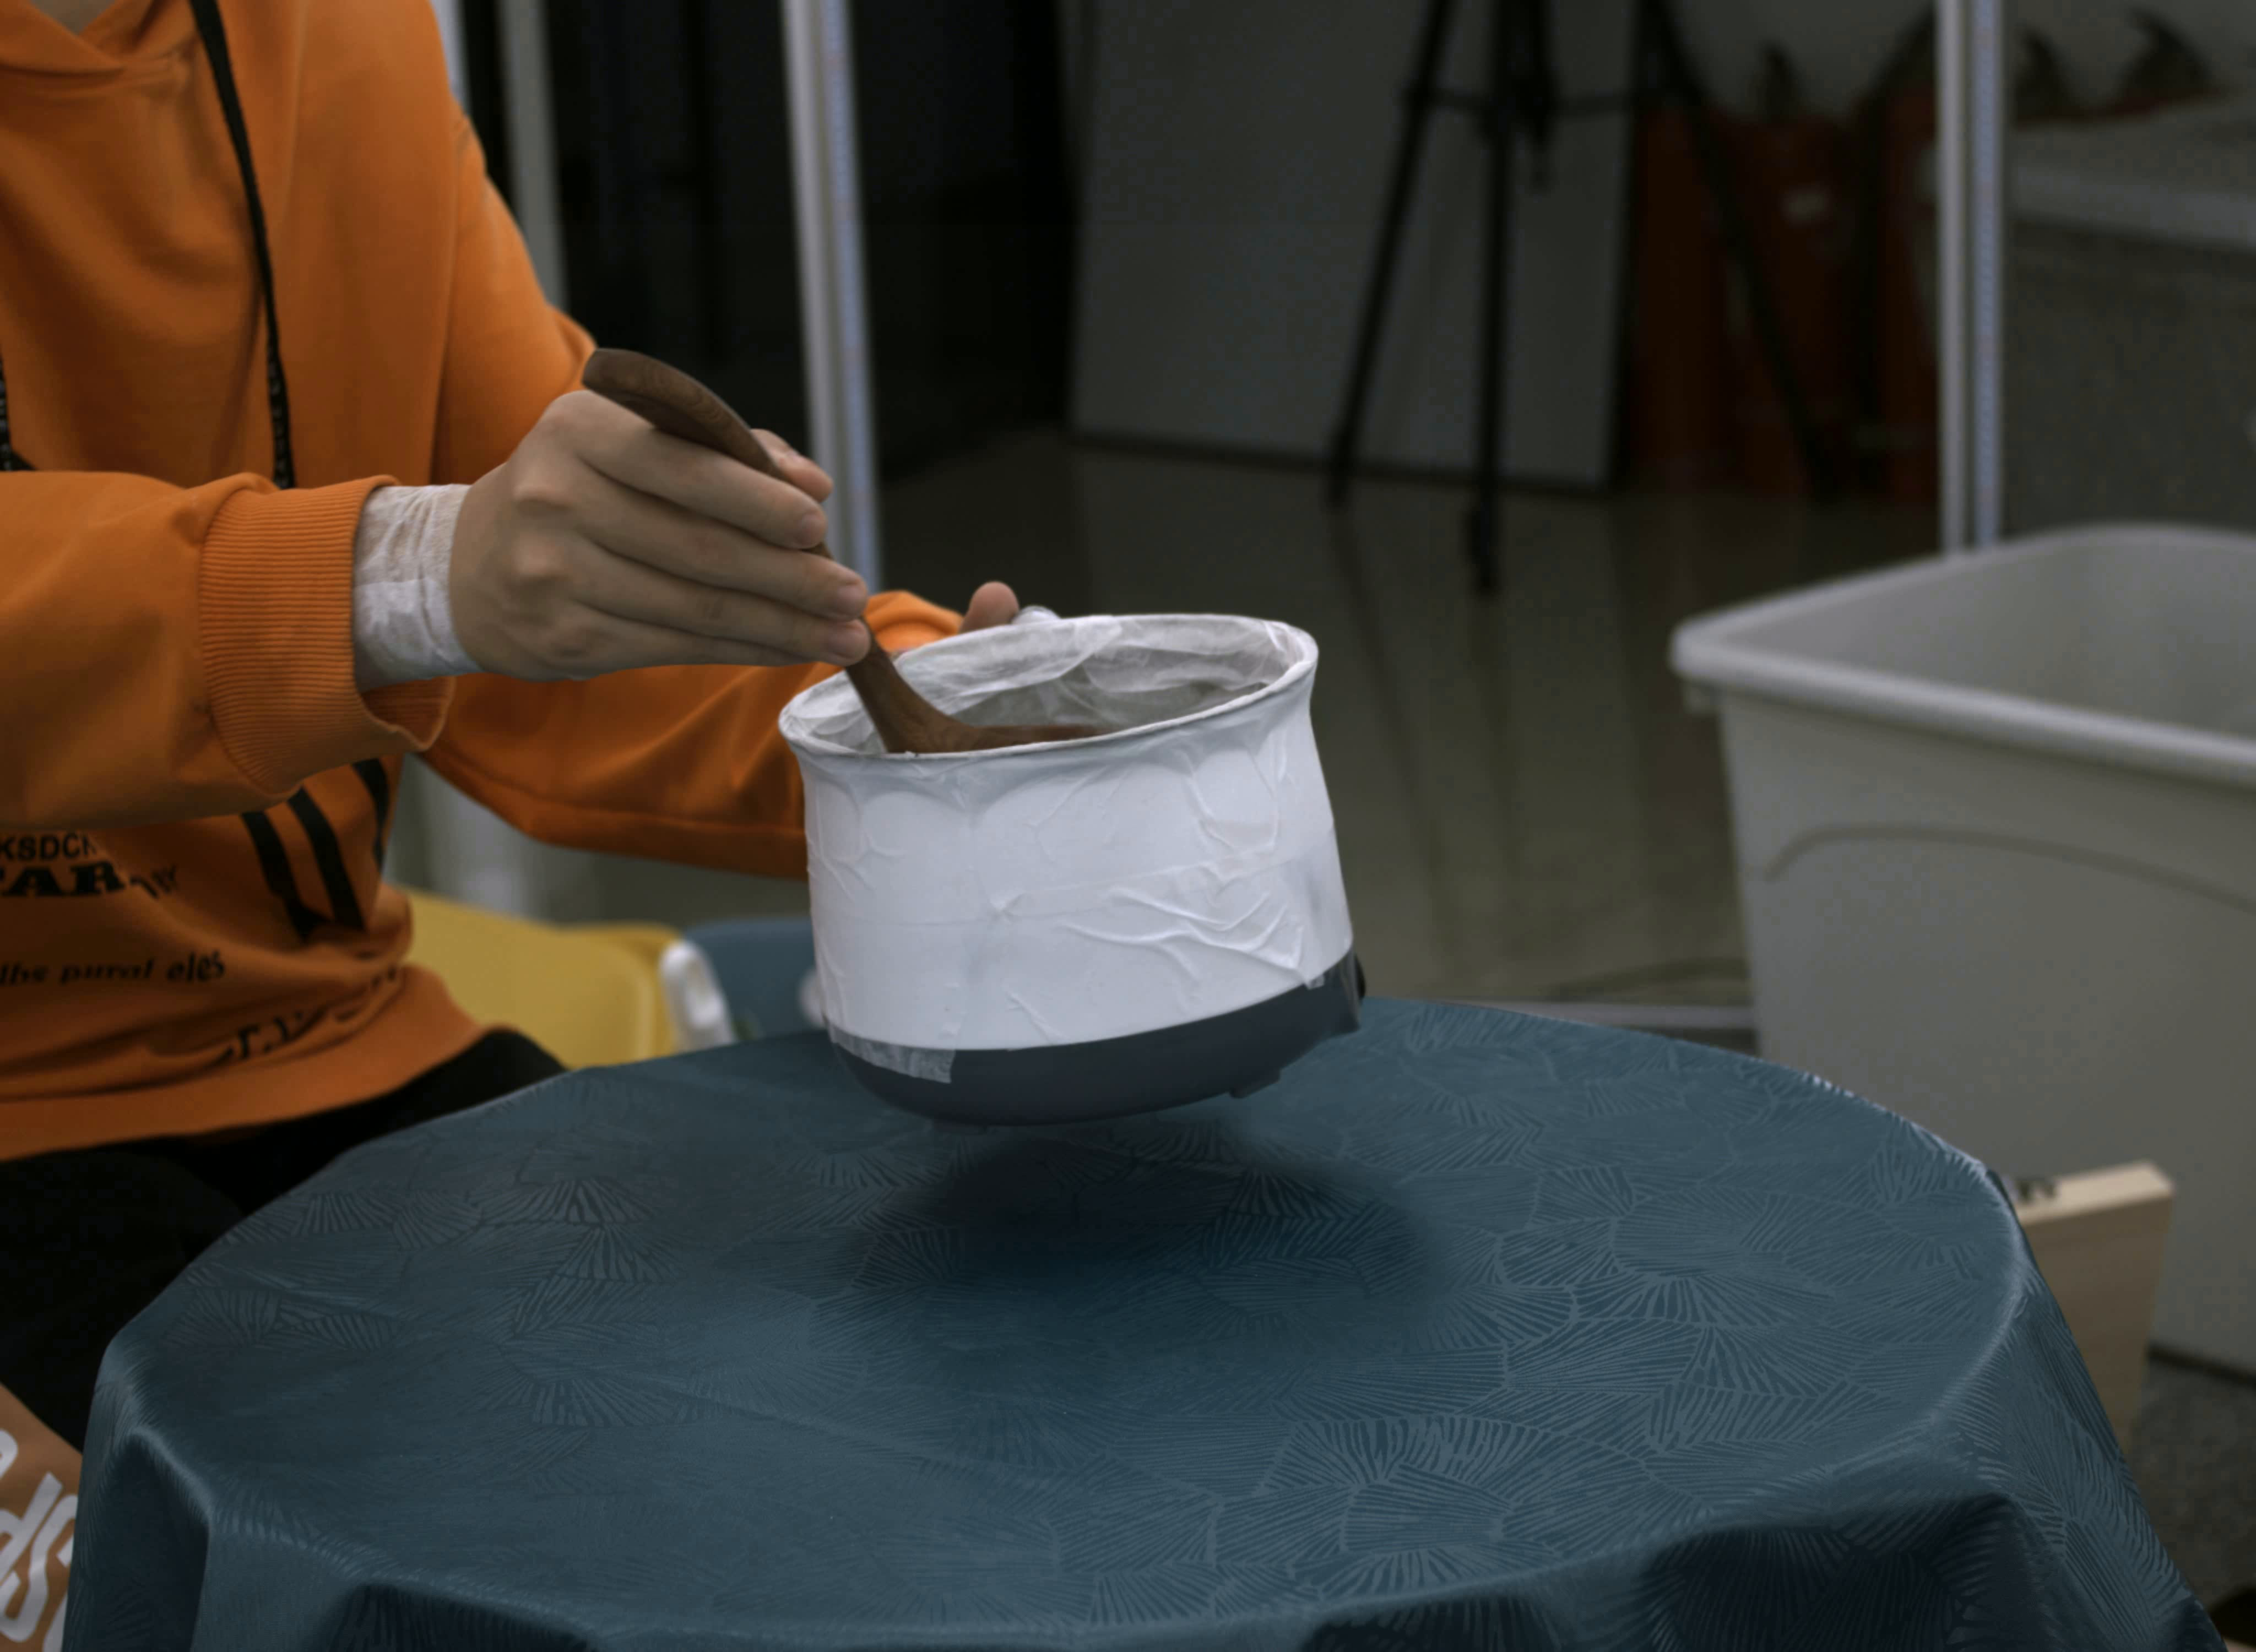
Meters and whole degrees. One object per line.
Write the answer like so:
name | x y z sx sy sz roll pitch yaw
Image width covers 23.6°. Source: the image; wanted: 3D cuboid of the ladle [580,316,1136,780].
ladle | -0.081 -0.084 1.648 0.077 0.258 0.065 -2 50 37

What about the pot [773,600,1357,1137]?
pot | -0.021 0.007 1.768 0.176 0.138 0.234 -8 14 -3
